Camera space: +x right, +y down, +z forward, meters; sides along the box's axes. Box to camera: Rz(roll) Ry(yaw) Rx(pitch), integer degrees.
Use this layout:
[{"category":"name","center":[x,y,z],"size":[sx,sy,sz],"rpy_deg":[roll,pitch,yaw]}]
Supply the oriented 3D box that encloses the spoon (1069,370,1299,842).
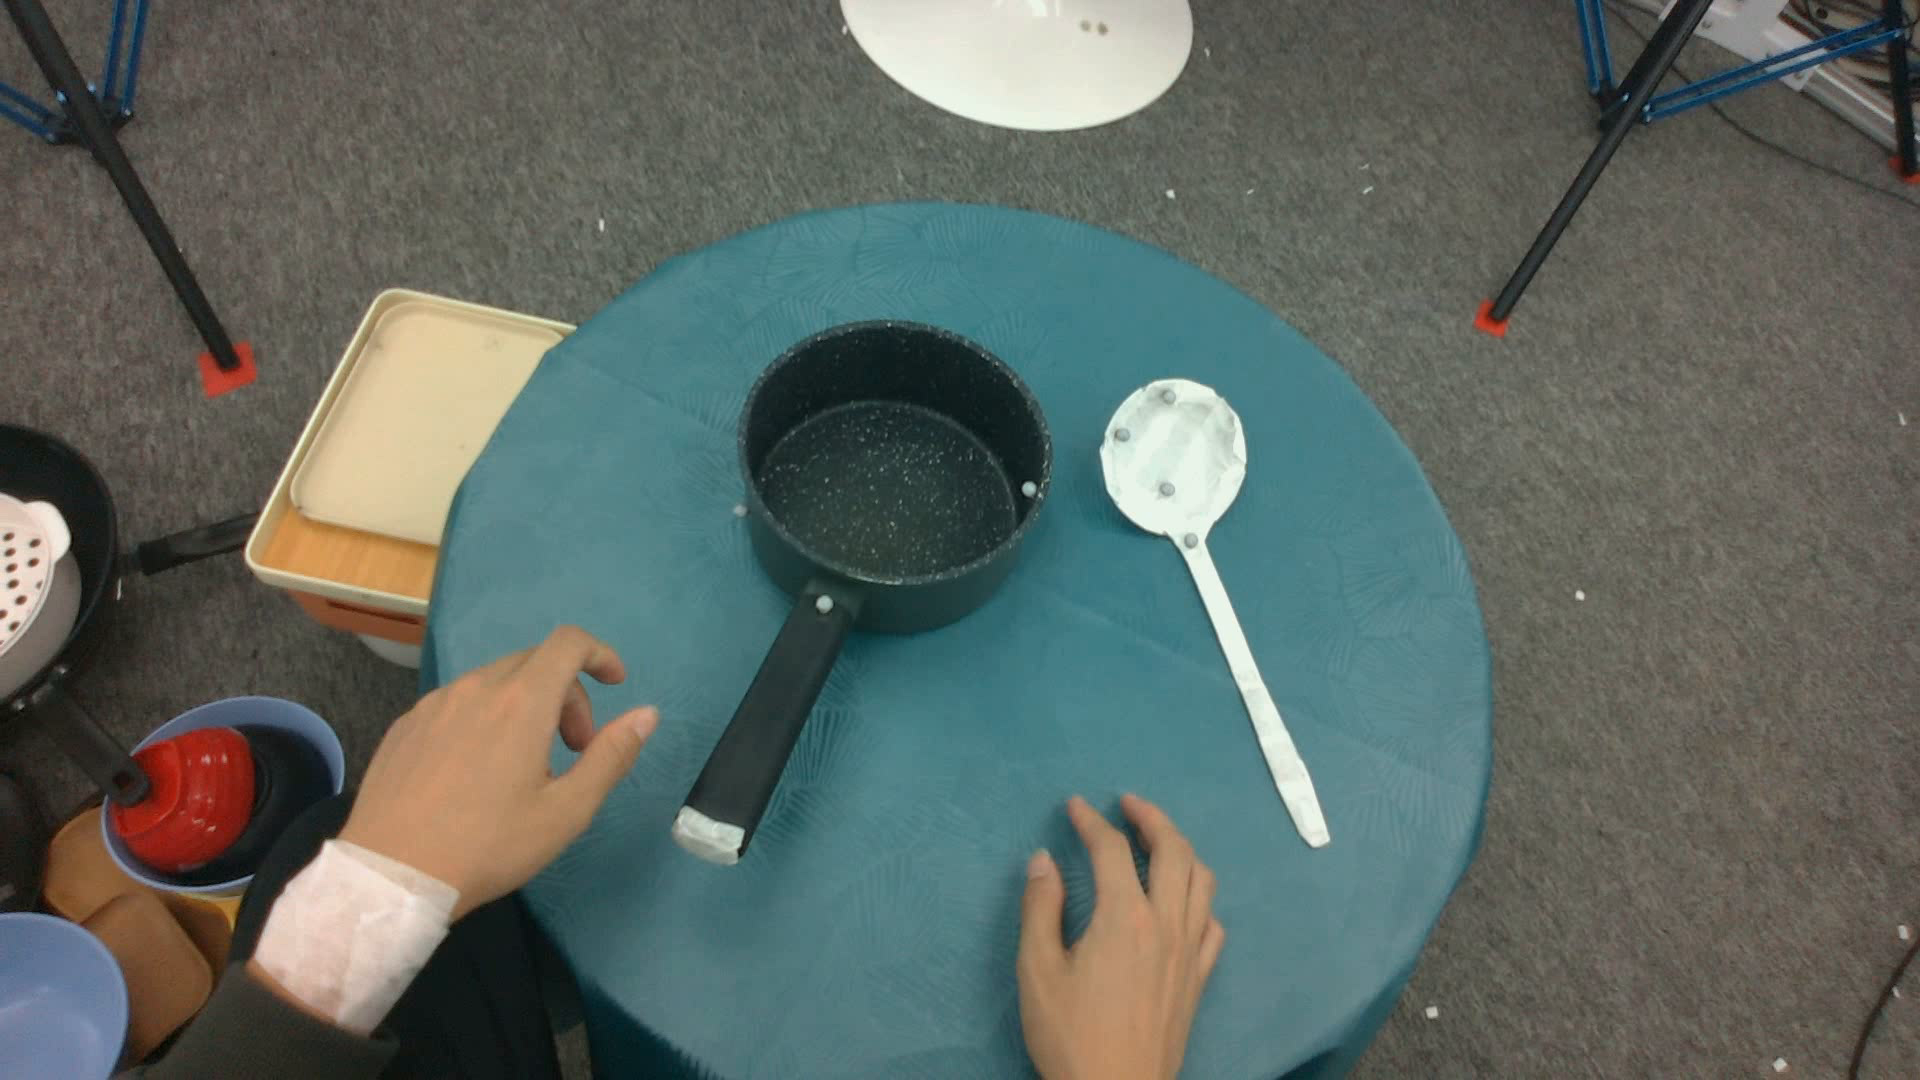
[{"category":"spoon","center":[0.136,0.032,0.779],"size":[0.101,0.059,0.278],"rpy_deg":[-14,63,-6]}]

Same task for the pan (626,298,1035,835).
[{"category":"pan","center":[-0.078,0.016,0.727],"size":[0.172,0.086,0.330],"rpy_deg":[23,58,5]}]
